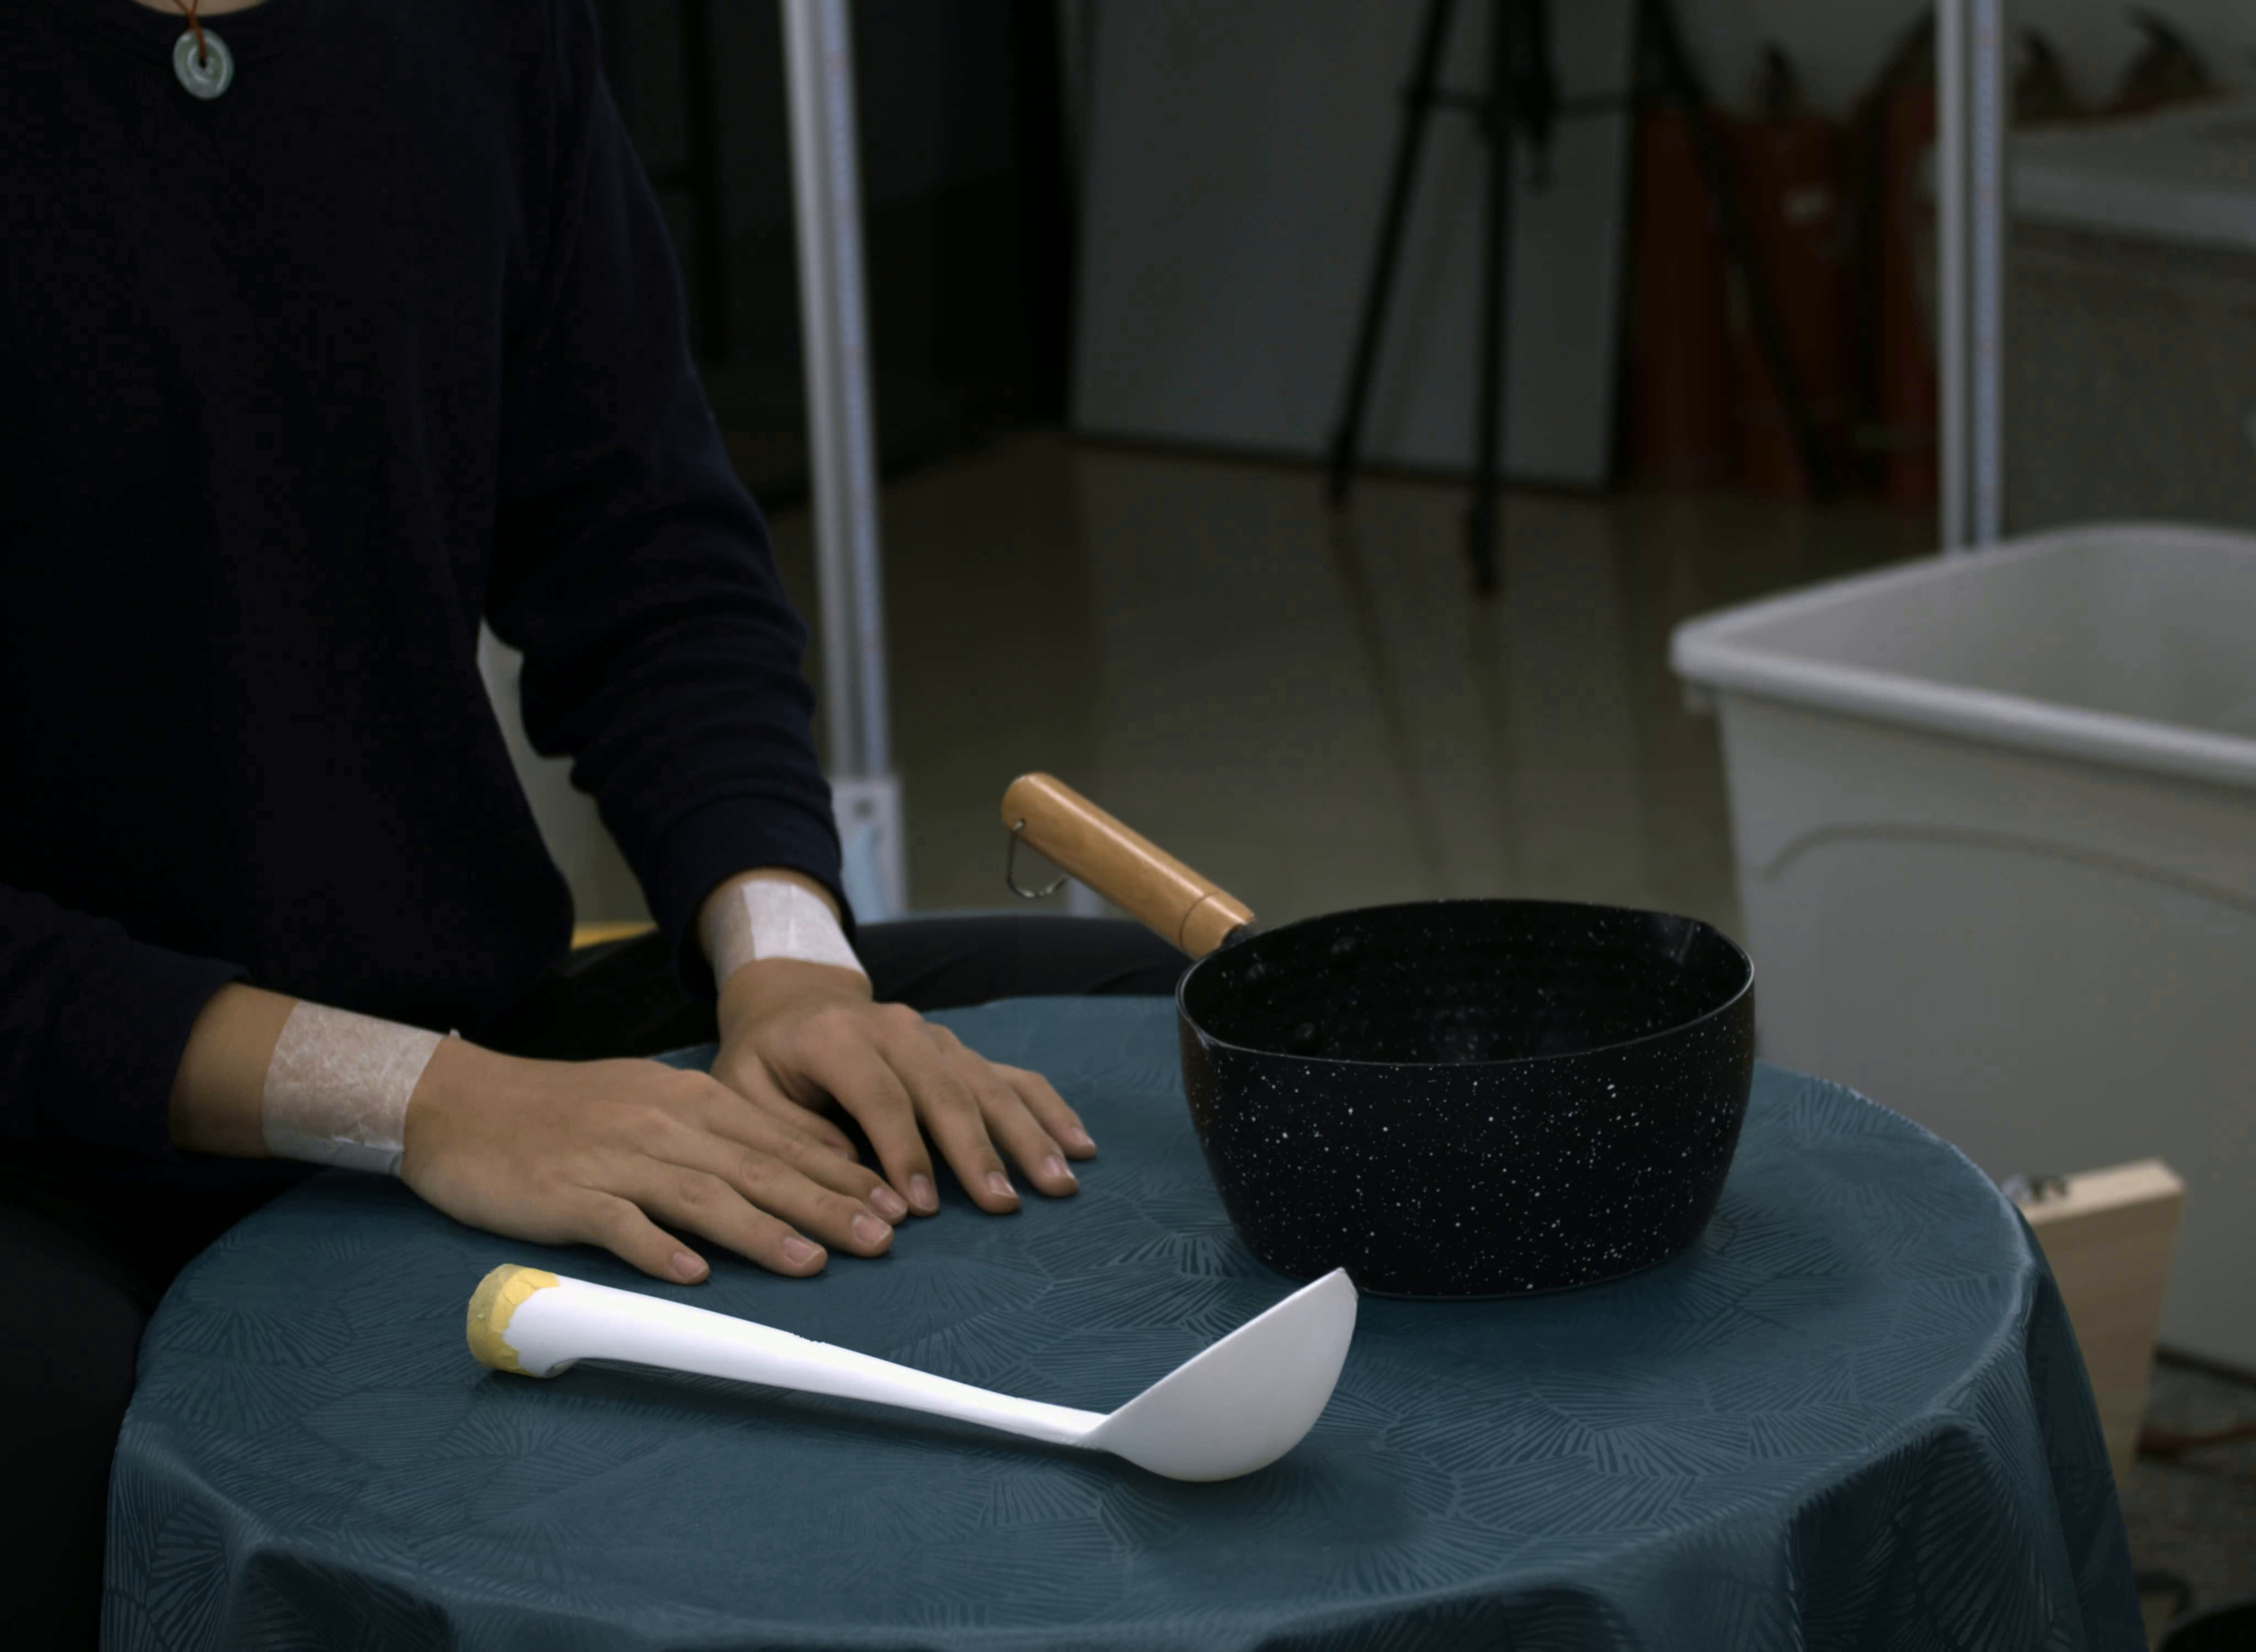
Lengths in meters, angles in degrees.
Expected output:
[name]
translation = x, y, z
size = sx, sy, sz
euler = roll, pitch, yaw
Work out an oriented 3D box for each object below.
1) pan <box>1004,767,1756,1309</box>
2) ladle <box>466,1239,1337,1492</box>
[pan]
translation = 0.061, 0.063, 1.763
size = 0.203, 0.109, 0.346
euler = -14, 18, -33
[ladle]
translation = -0.071, 0.146, 1.555
size = 0.294, 0.070, 0.089
euler = 4, 21, 33
